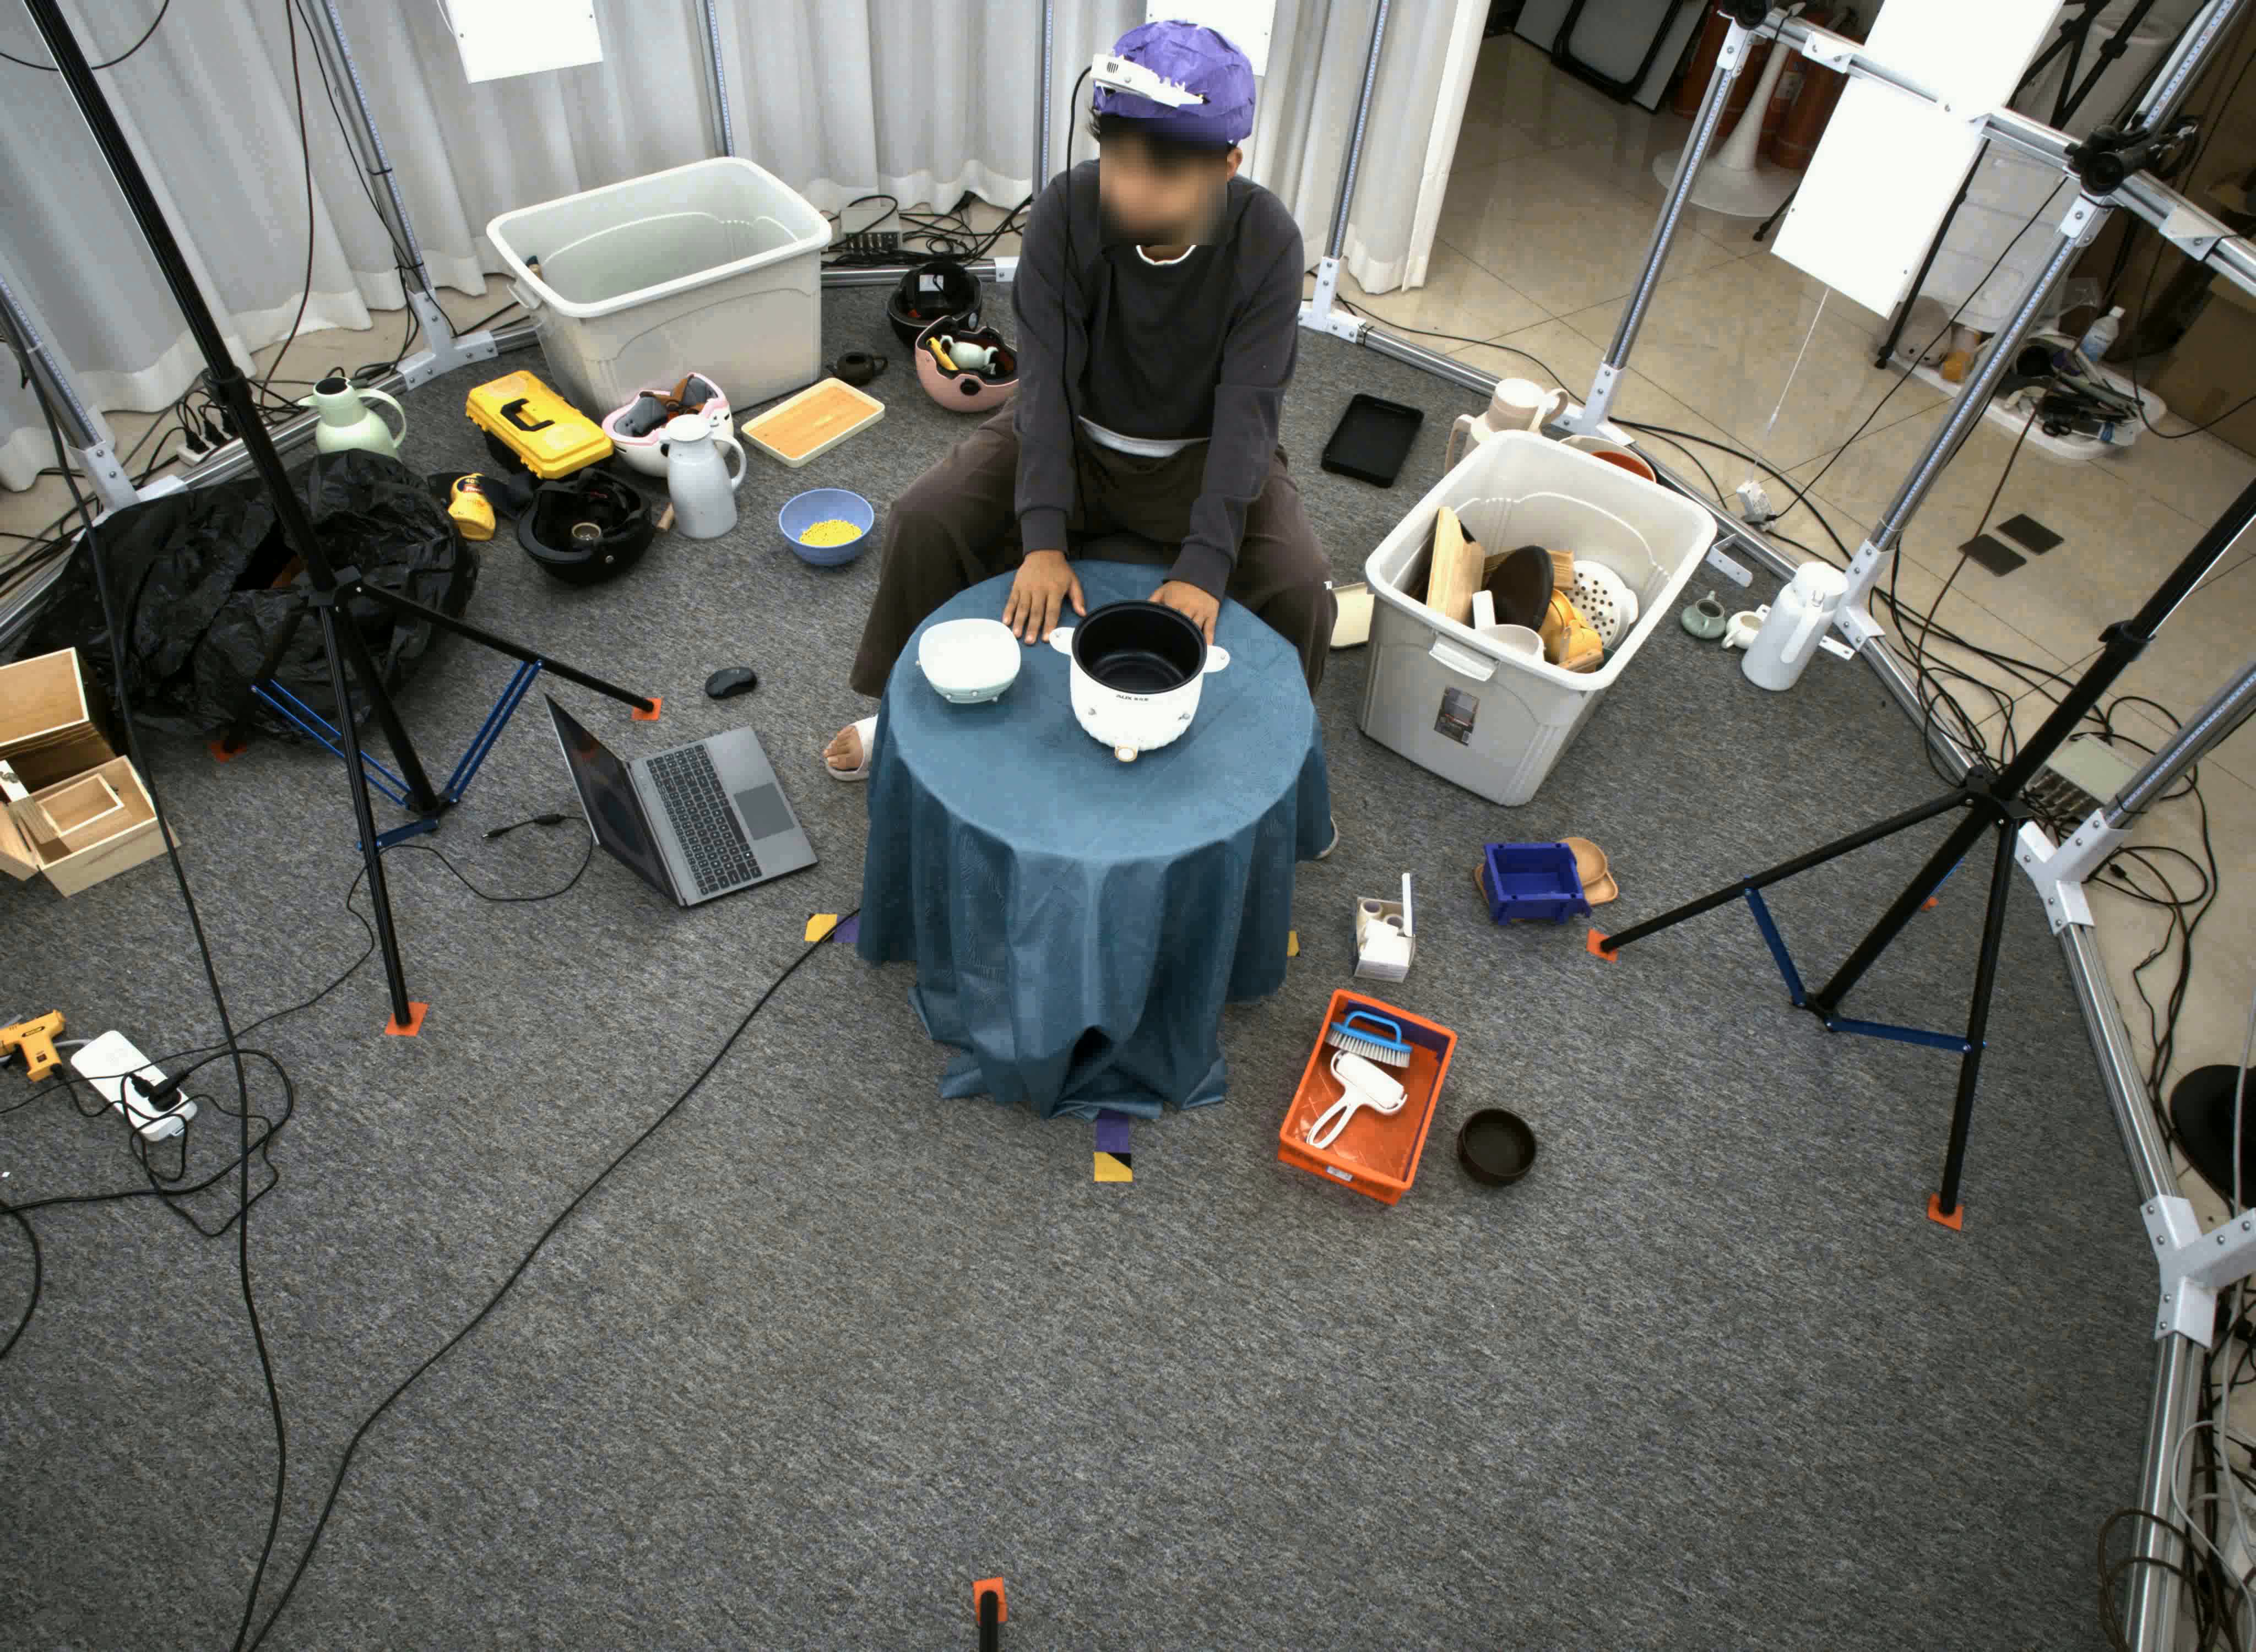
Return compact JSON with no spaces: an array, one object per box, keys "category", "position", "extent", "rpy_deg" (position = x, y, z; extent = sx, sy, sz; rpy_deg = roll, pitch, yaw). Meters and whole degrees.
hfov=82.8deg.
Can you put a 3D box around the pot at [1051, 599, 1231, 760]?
[{"category":"pot","position":[0.014,-0.196,1.745],"extent":[0.240,0.139,0.195],"rpy_deg":[5,46,2]}]

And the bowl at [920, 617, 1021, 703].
[{"category":"bowl","position":[-0.220,-0.224,1.806],"extent":[0.151,0.057,0.155],"rpy_deg":[2,51,-3]}]
